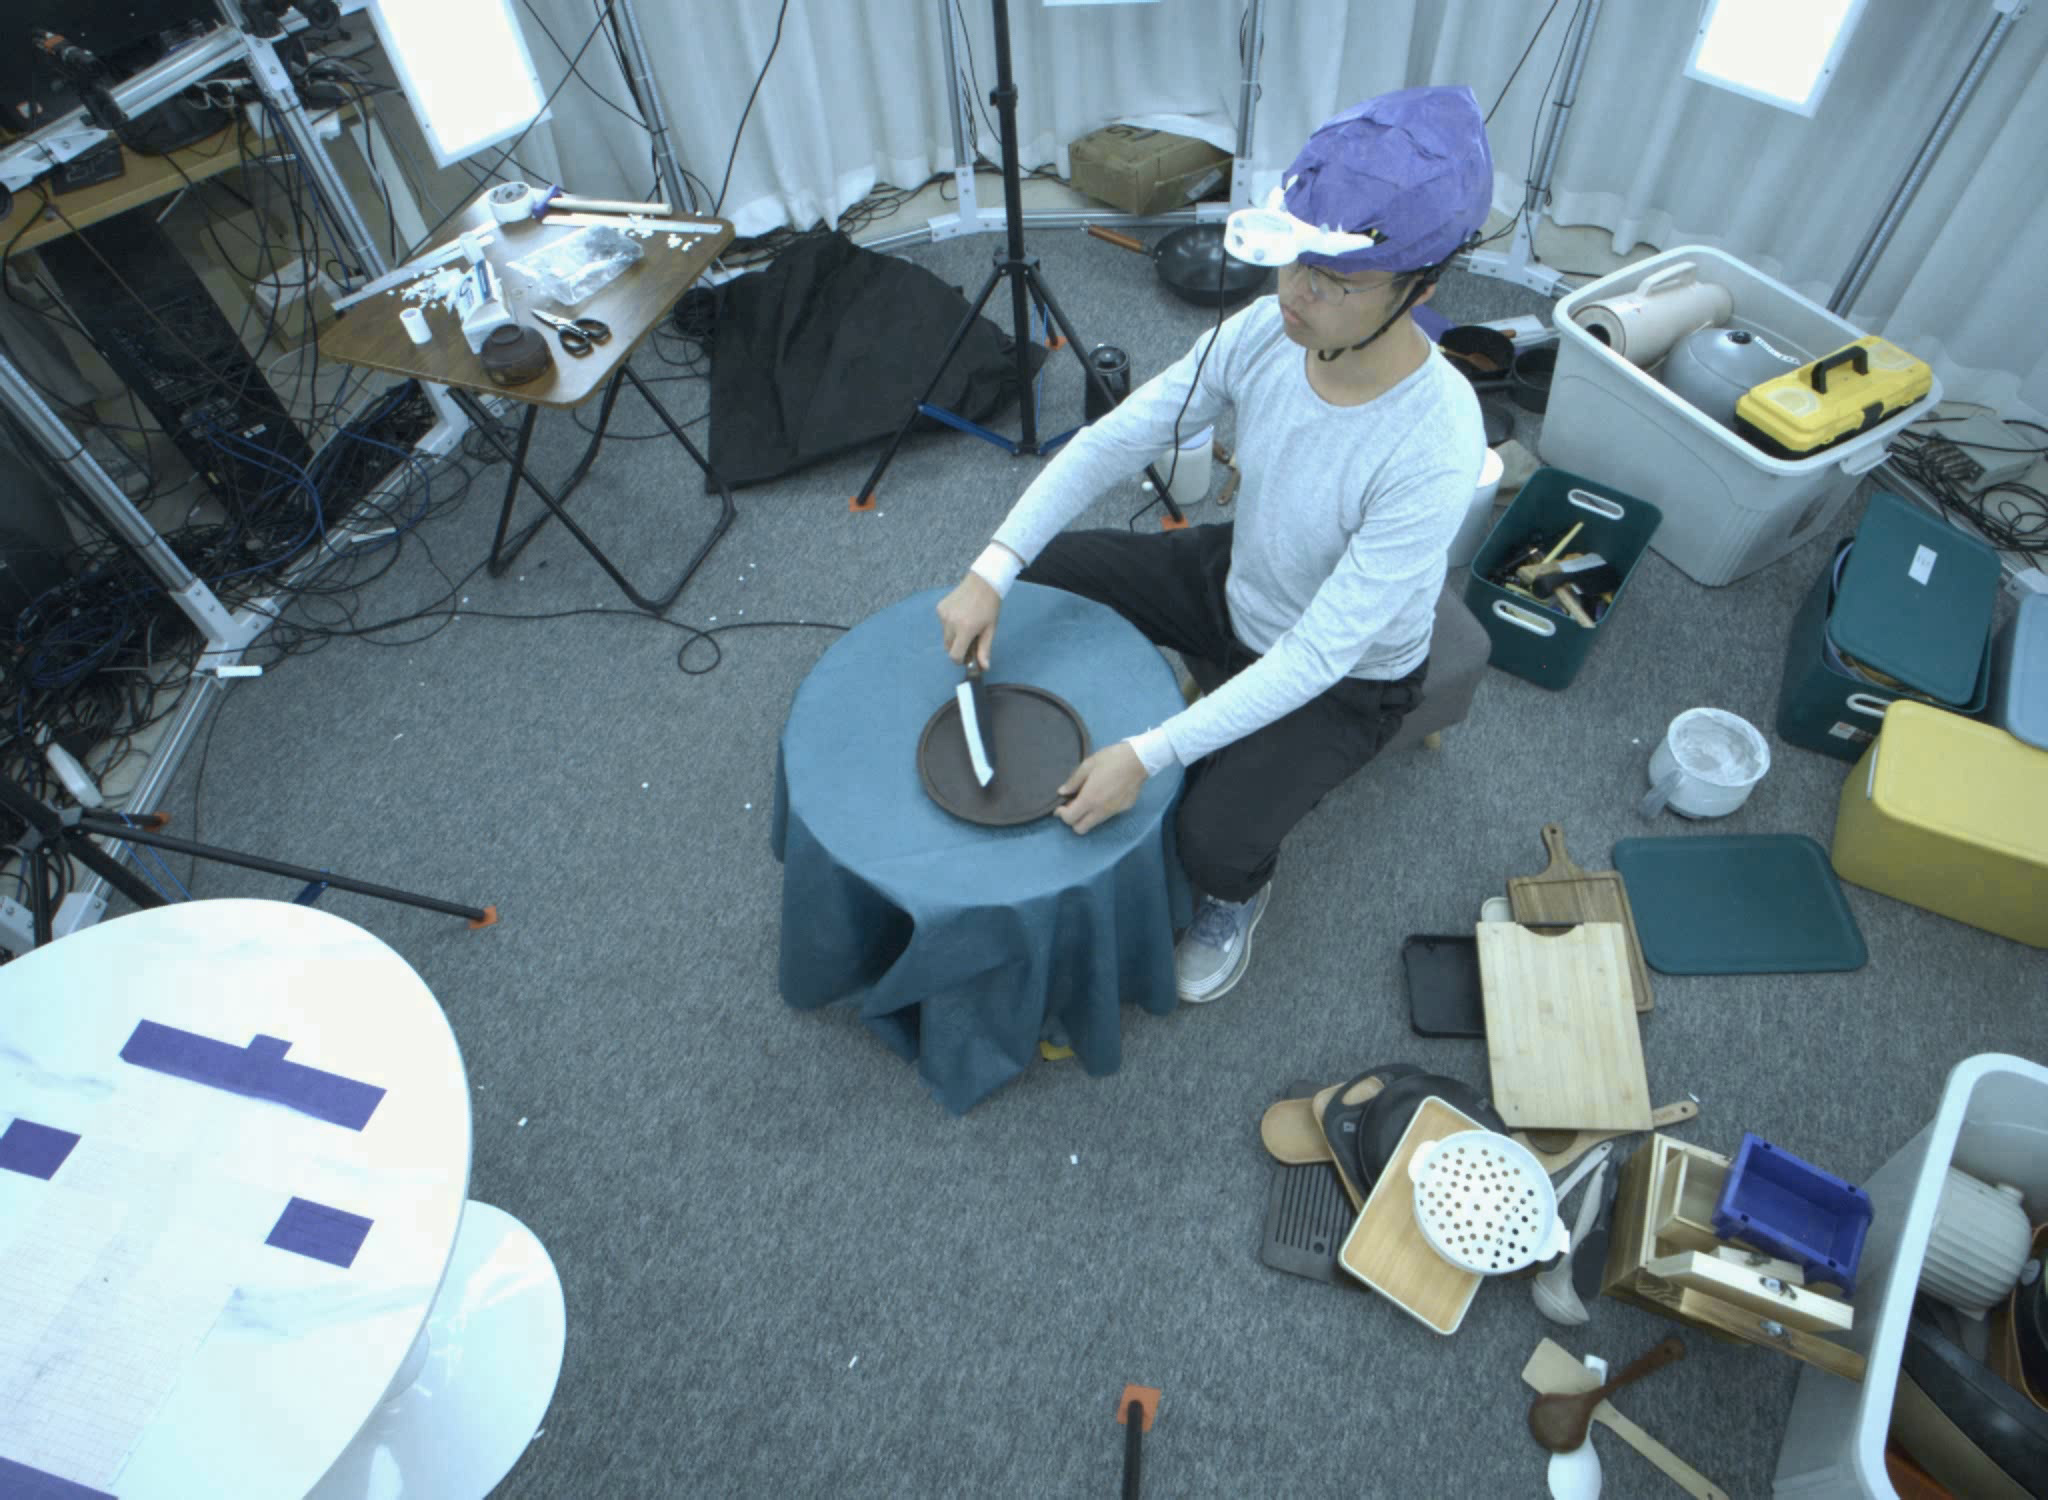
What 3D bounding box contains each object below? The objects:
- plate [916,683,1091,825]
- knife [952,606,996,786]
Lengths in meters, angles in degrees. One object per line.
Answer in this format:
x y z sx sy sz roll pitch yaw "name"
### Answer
-0.030 0.005 1.777 0.255 0.029 0.252 0 52 1 "plate"
-0.075 -0.080 1.768 0.049 0.020 0.286 -20 65 23 "knife"
